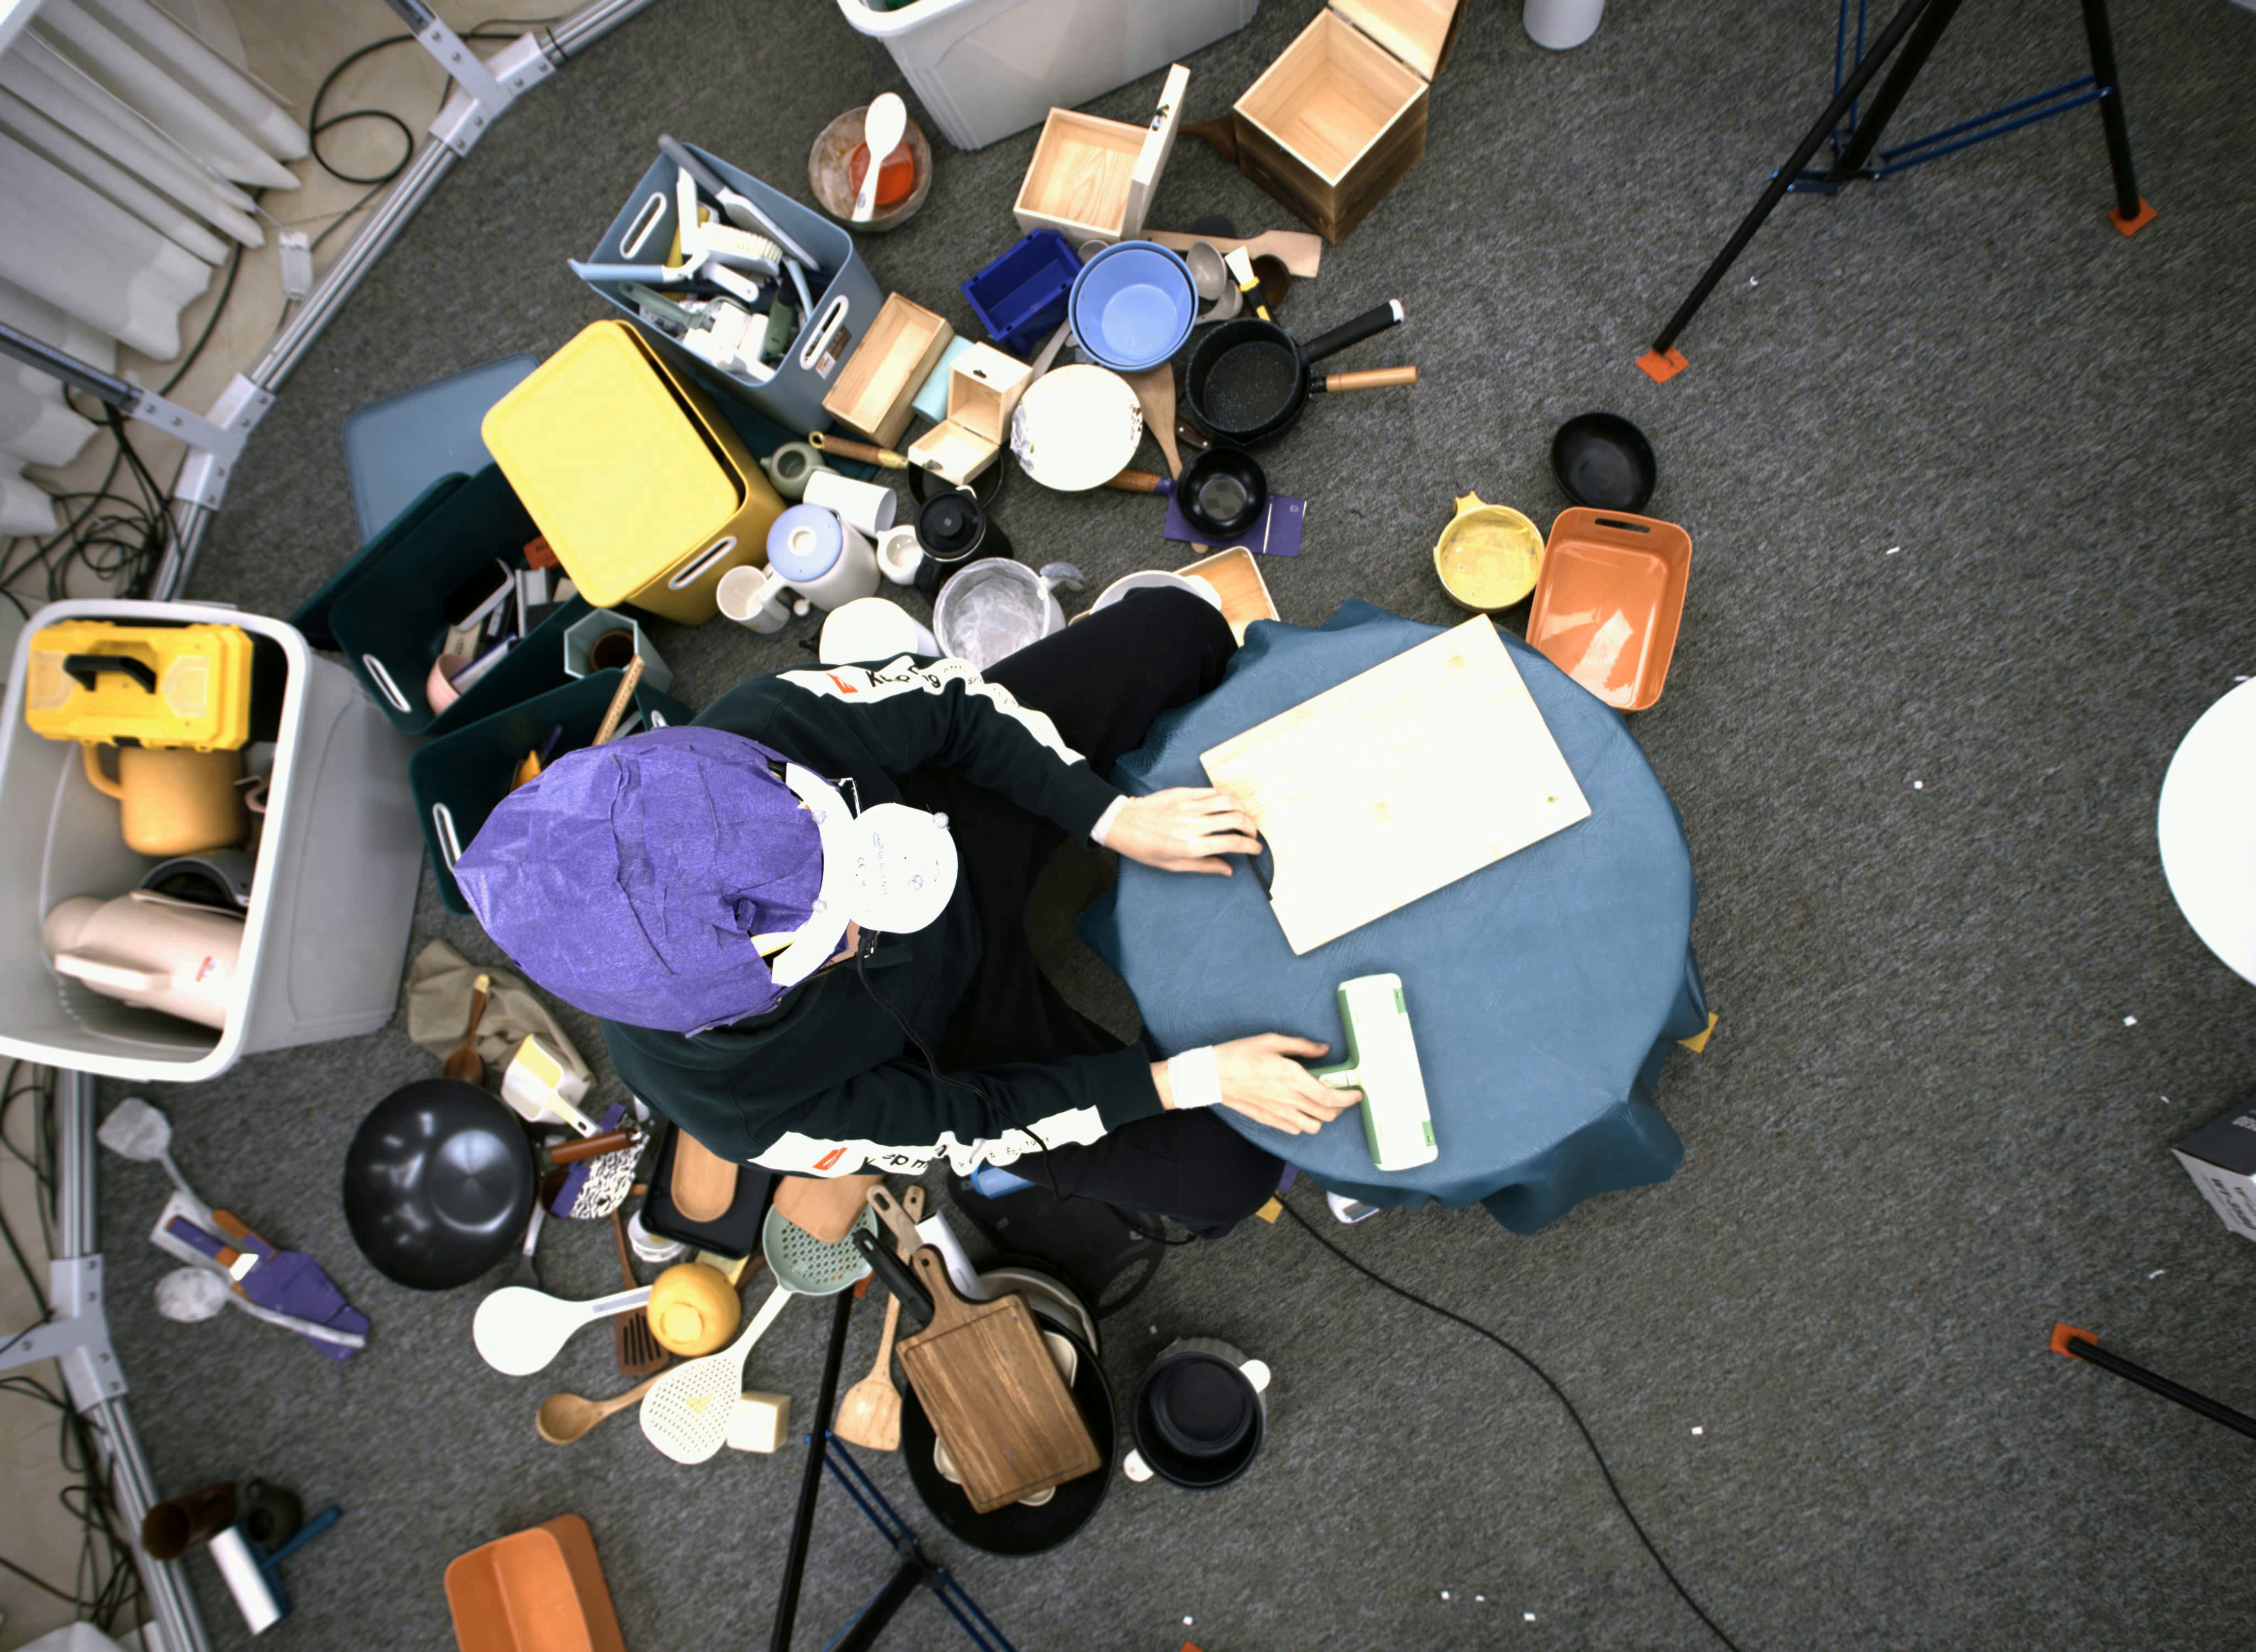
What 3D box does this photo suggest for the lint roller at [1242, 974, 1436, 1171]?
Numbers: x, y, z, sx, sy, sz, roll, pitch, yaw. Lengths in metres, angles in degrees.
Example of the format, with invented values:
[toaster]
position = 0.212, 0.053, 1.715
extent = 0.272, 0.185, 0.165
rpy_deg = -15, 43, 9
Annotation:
[lint roller]
position = 0.206, 0.261, 1.419
extent = 0.184, 0.082, 0.197
rpy_deg = -11, 85, 5

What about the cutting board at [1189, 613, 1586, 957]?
[cutting board]
position = 0.273, -0.044, 1.453
extent = 0.350, 0.023, 0.249
rpy_deg = -27, 83, 8
